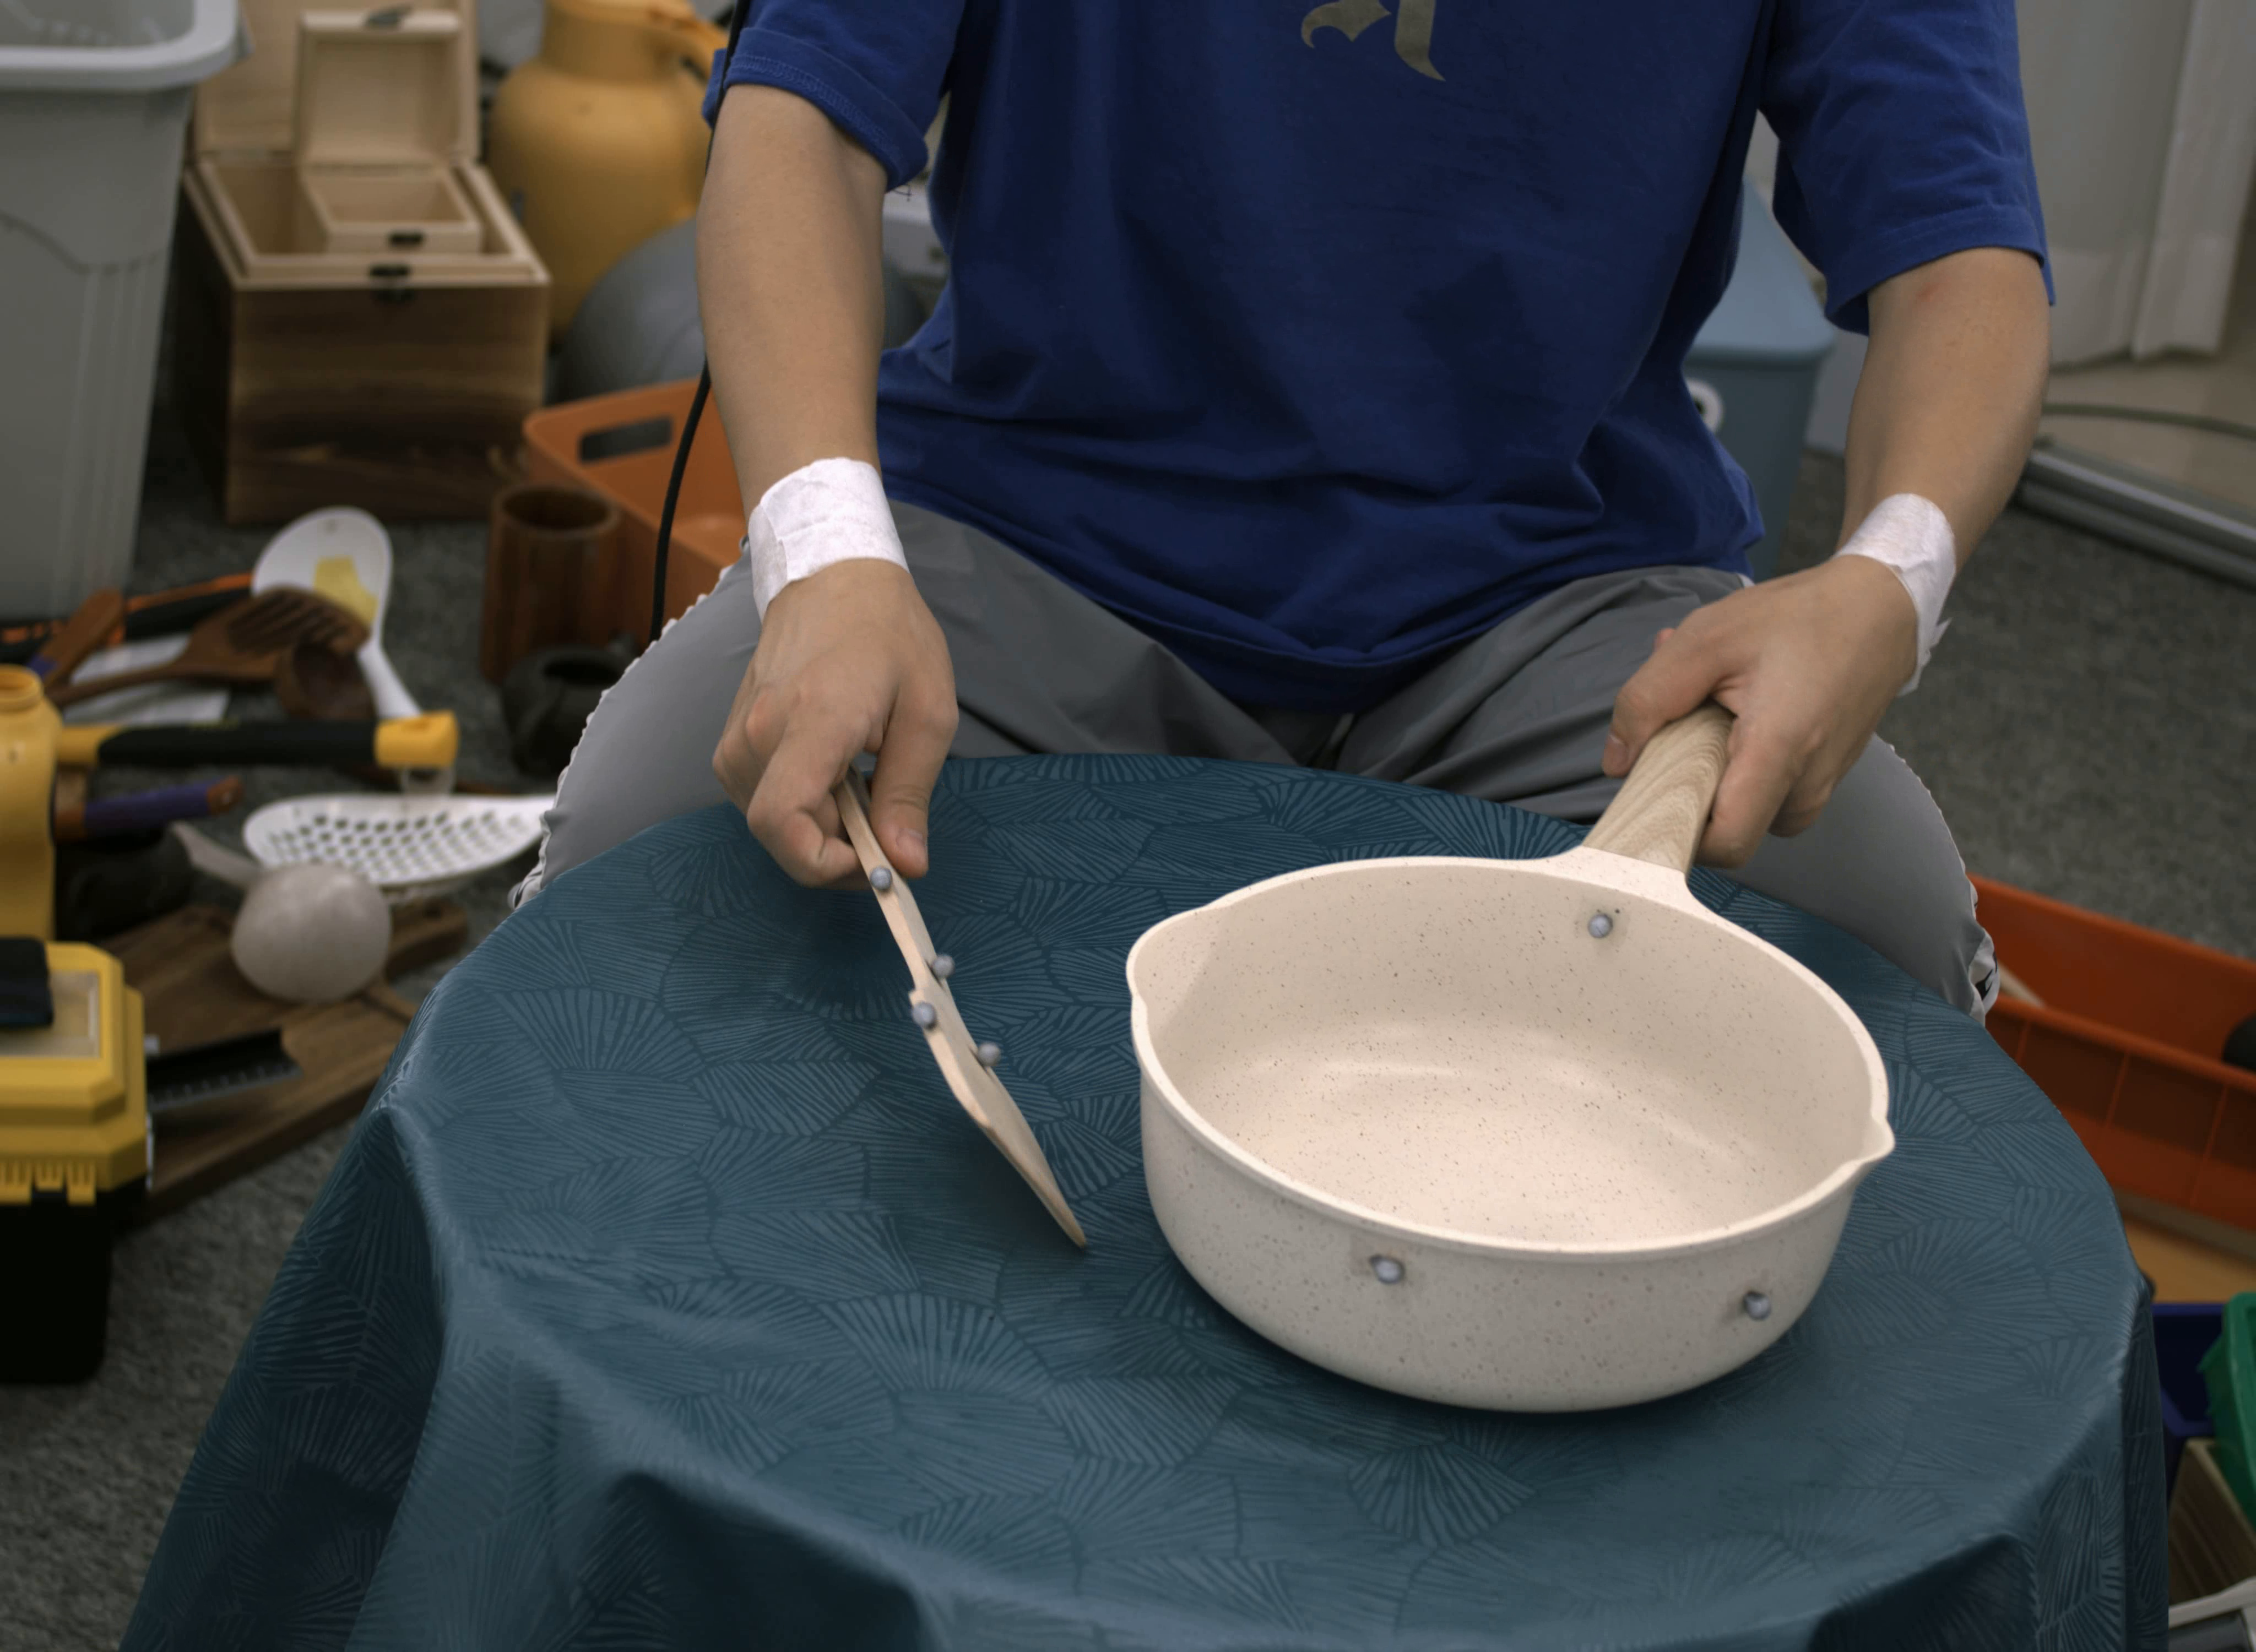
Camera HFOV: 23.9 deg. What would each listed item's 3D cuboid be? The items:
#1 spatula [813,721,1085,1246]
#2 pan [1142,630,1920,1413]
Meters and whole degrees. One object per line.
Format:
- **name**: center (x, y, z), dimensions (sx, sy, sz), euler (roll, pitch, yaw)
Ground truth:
- **spatula**: center (-0.072, 0.043, 1.864), dimensions (0.010, 0.071, 0.296), euler (-34, 35, 5)
- **pan**: center (0.160, 0.062, 1.841), dimensions (0.264, 0.101, 0.435), euler (13, 29, 16)
